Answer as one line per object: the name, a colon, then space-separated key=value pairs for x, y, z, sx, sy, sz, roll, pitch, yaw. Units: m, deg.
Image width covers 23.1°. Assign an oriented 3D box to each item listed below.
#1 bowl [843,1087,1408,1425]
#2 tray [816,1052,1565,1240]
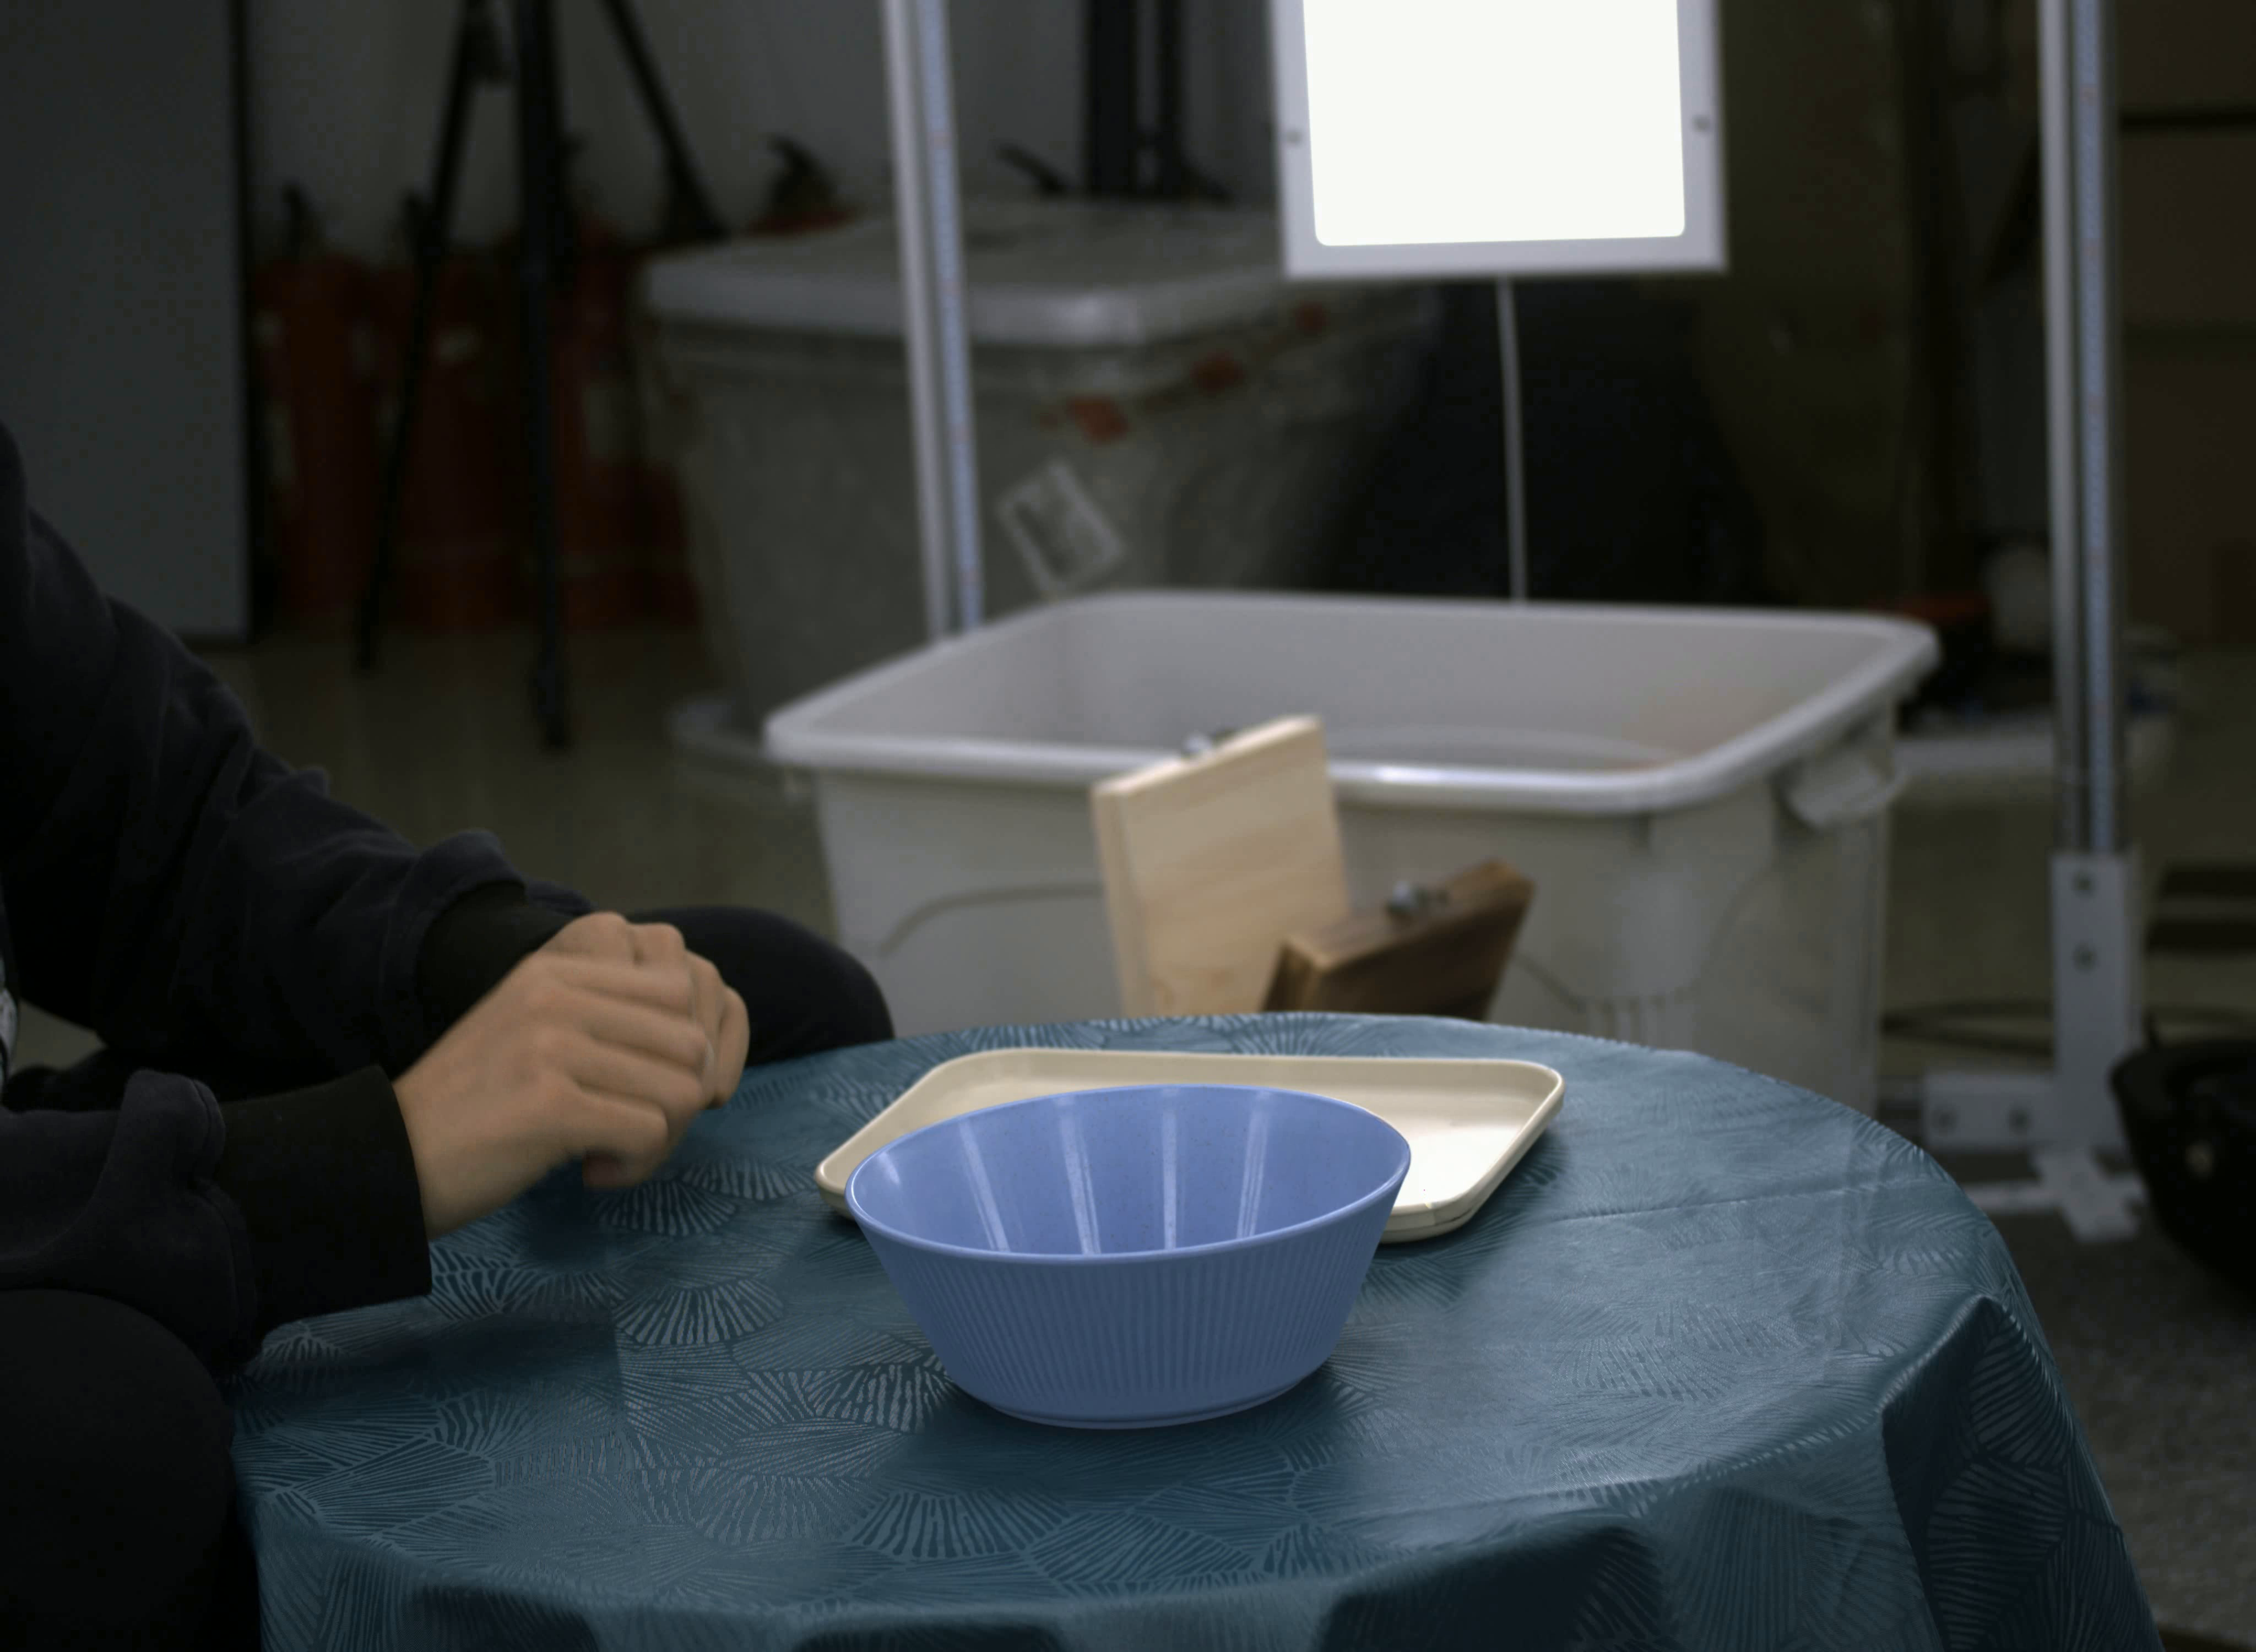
bowl: x=0.001 y=0.136 z=1.710 sx=0.175 sy=0.070 sz=0.176 roll=-4 pitch=14 yaw=0
tray: x=0.024 y=0.111 z=1.914 sx=0.243 sy=0.017 sz=0.168 roll=0 pitch=14 yaw=21
